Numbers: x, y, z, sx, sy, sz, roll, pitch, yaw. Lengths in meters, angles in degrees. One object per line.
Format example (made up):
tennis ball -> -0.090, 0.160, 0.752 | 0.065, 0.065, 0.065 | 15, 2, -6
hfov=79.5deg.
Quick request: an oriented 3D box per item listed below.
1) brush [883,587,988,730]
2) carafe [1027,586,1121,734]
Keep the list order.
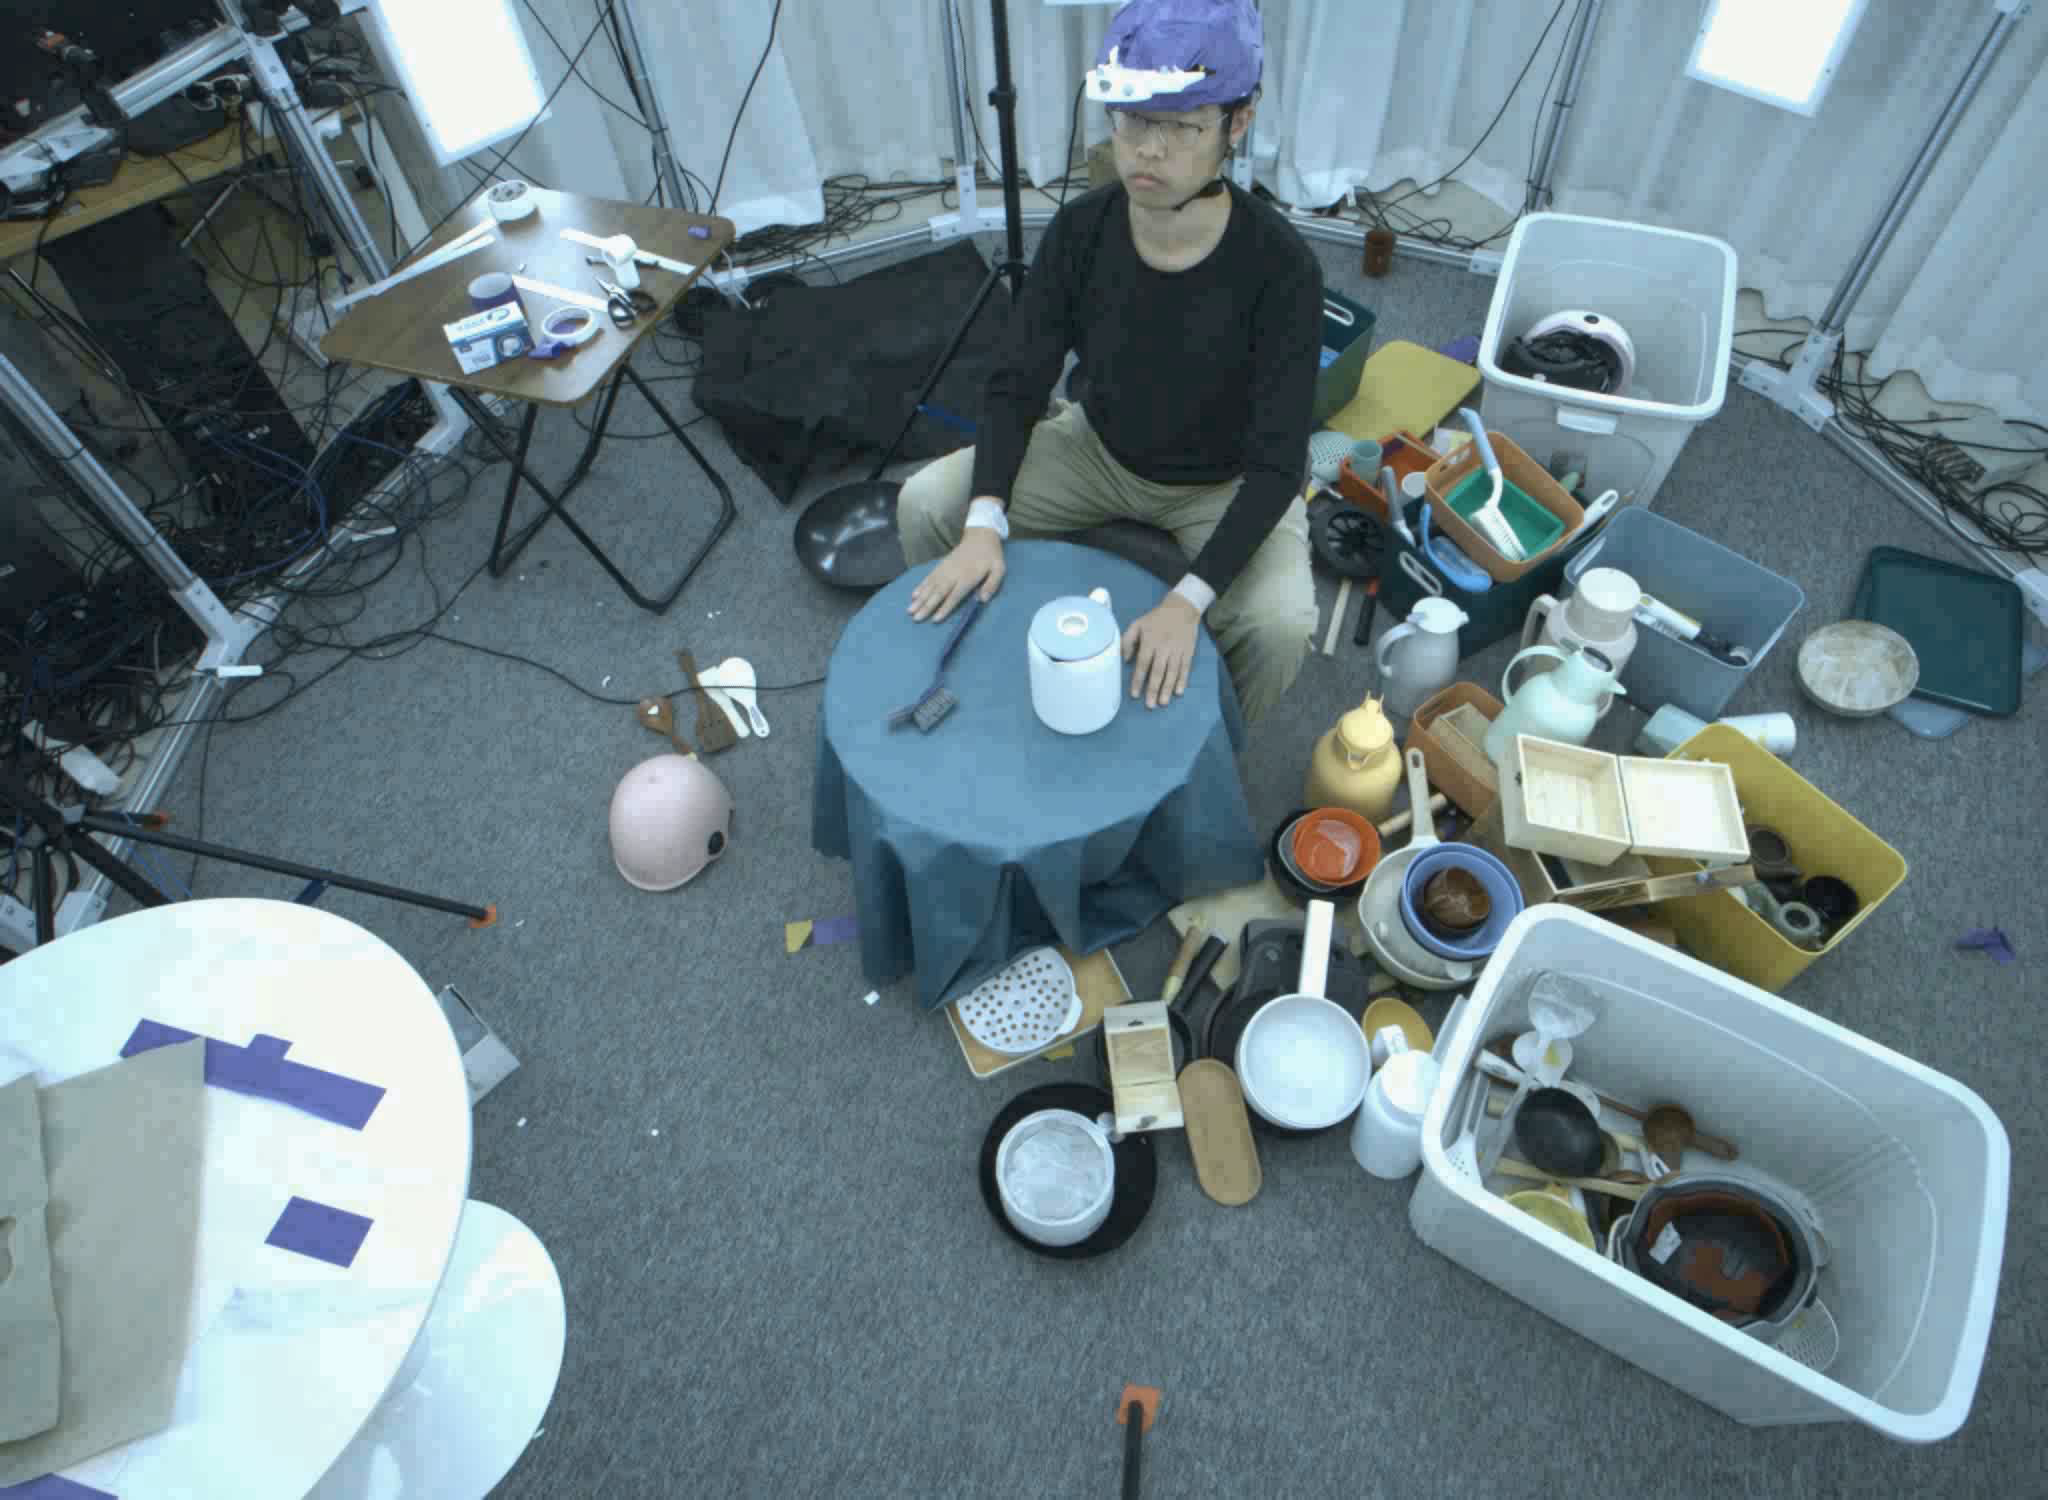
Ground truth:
brush -> -0.128, -0.144, 1.875 | 0.095, 0.034, 0.272 | 11, 57, 13
carafe -> 0.082, -0.140, 1.778 | 0.131, 0.184, 0.191 | 17, 56, 14
